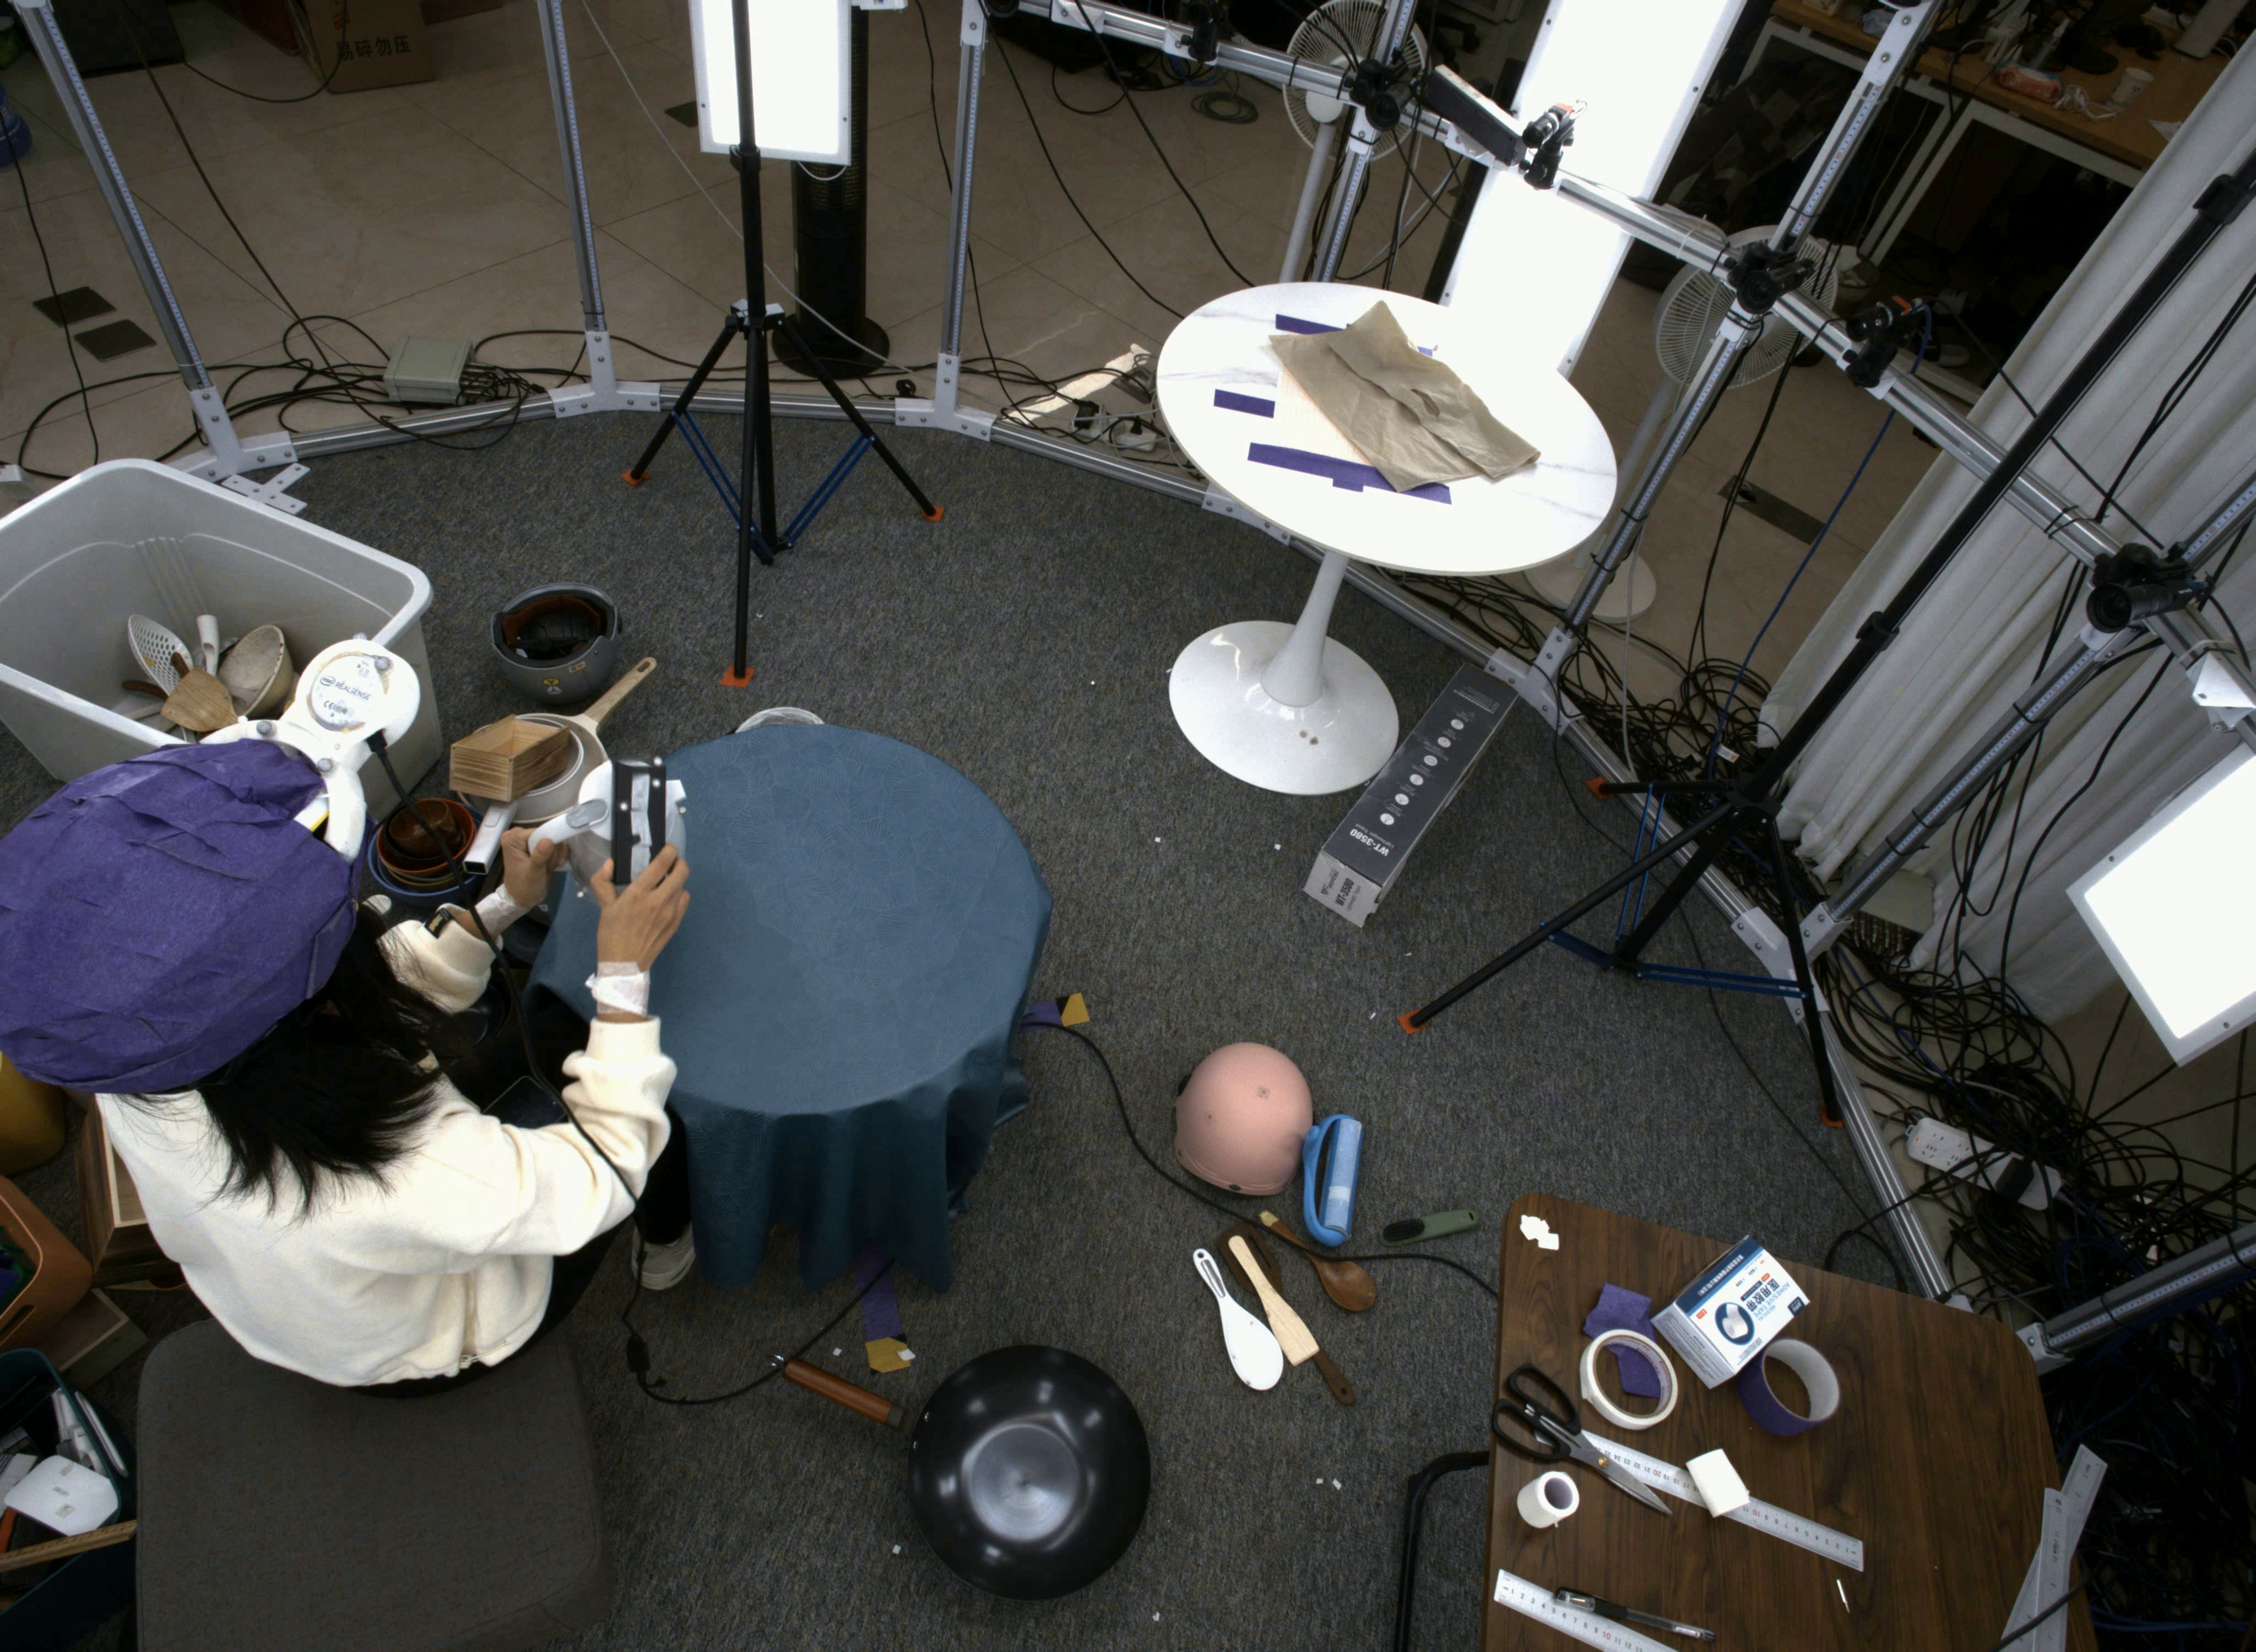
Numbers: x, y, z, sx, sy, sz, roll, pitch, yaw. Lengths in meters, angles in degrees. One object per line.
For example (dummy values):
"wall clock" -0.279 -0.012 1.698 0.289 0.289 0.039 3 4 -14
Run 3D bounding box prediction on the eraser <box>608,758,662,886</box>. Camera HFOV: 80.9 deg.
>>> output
"eraser" -0.496 -0.006 1.285 0.054 0.030 0.127 -2 92 -25

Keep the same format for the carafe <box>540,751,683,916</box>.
"carafe" -0.571 0.008 1.397 0.168 0.247 0.132 -21 82 -25
